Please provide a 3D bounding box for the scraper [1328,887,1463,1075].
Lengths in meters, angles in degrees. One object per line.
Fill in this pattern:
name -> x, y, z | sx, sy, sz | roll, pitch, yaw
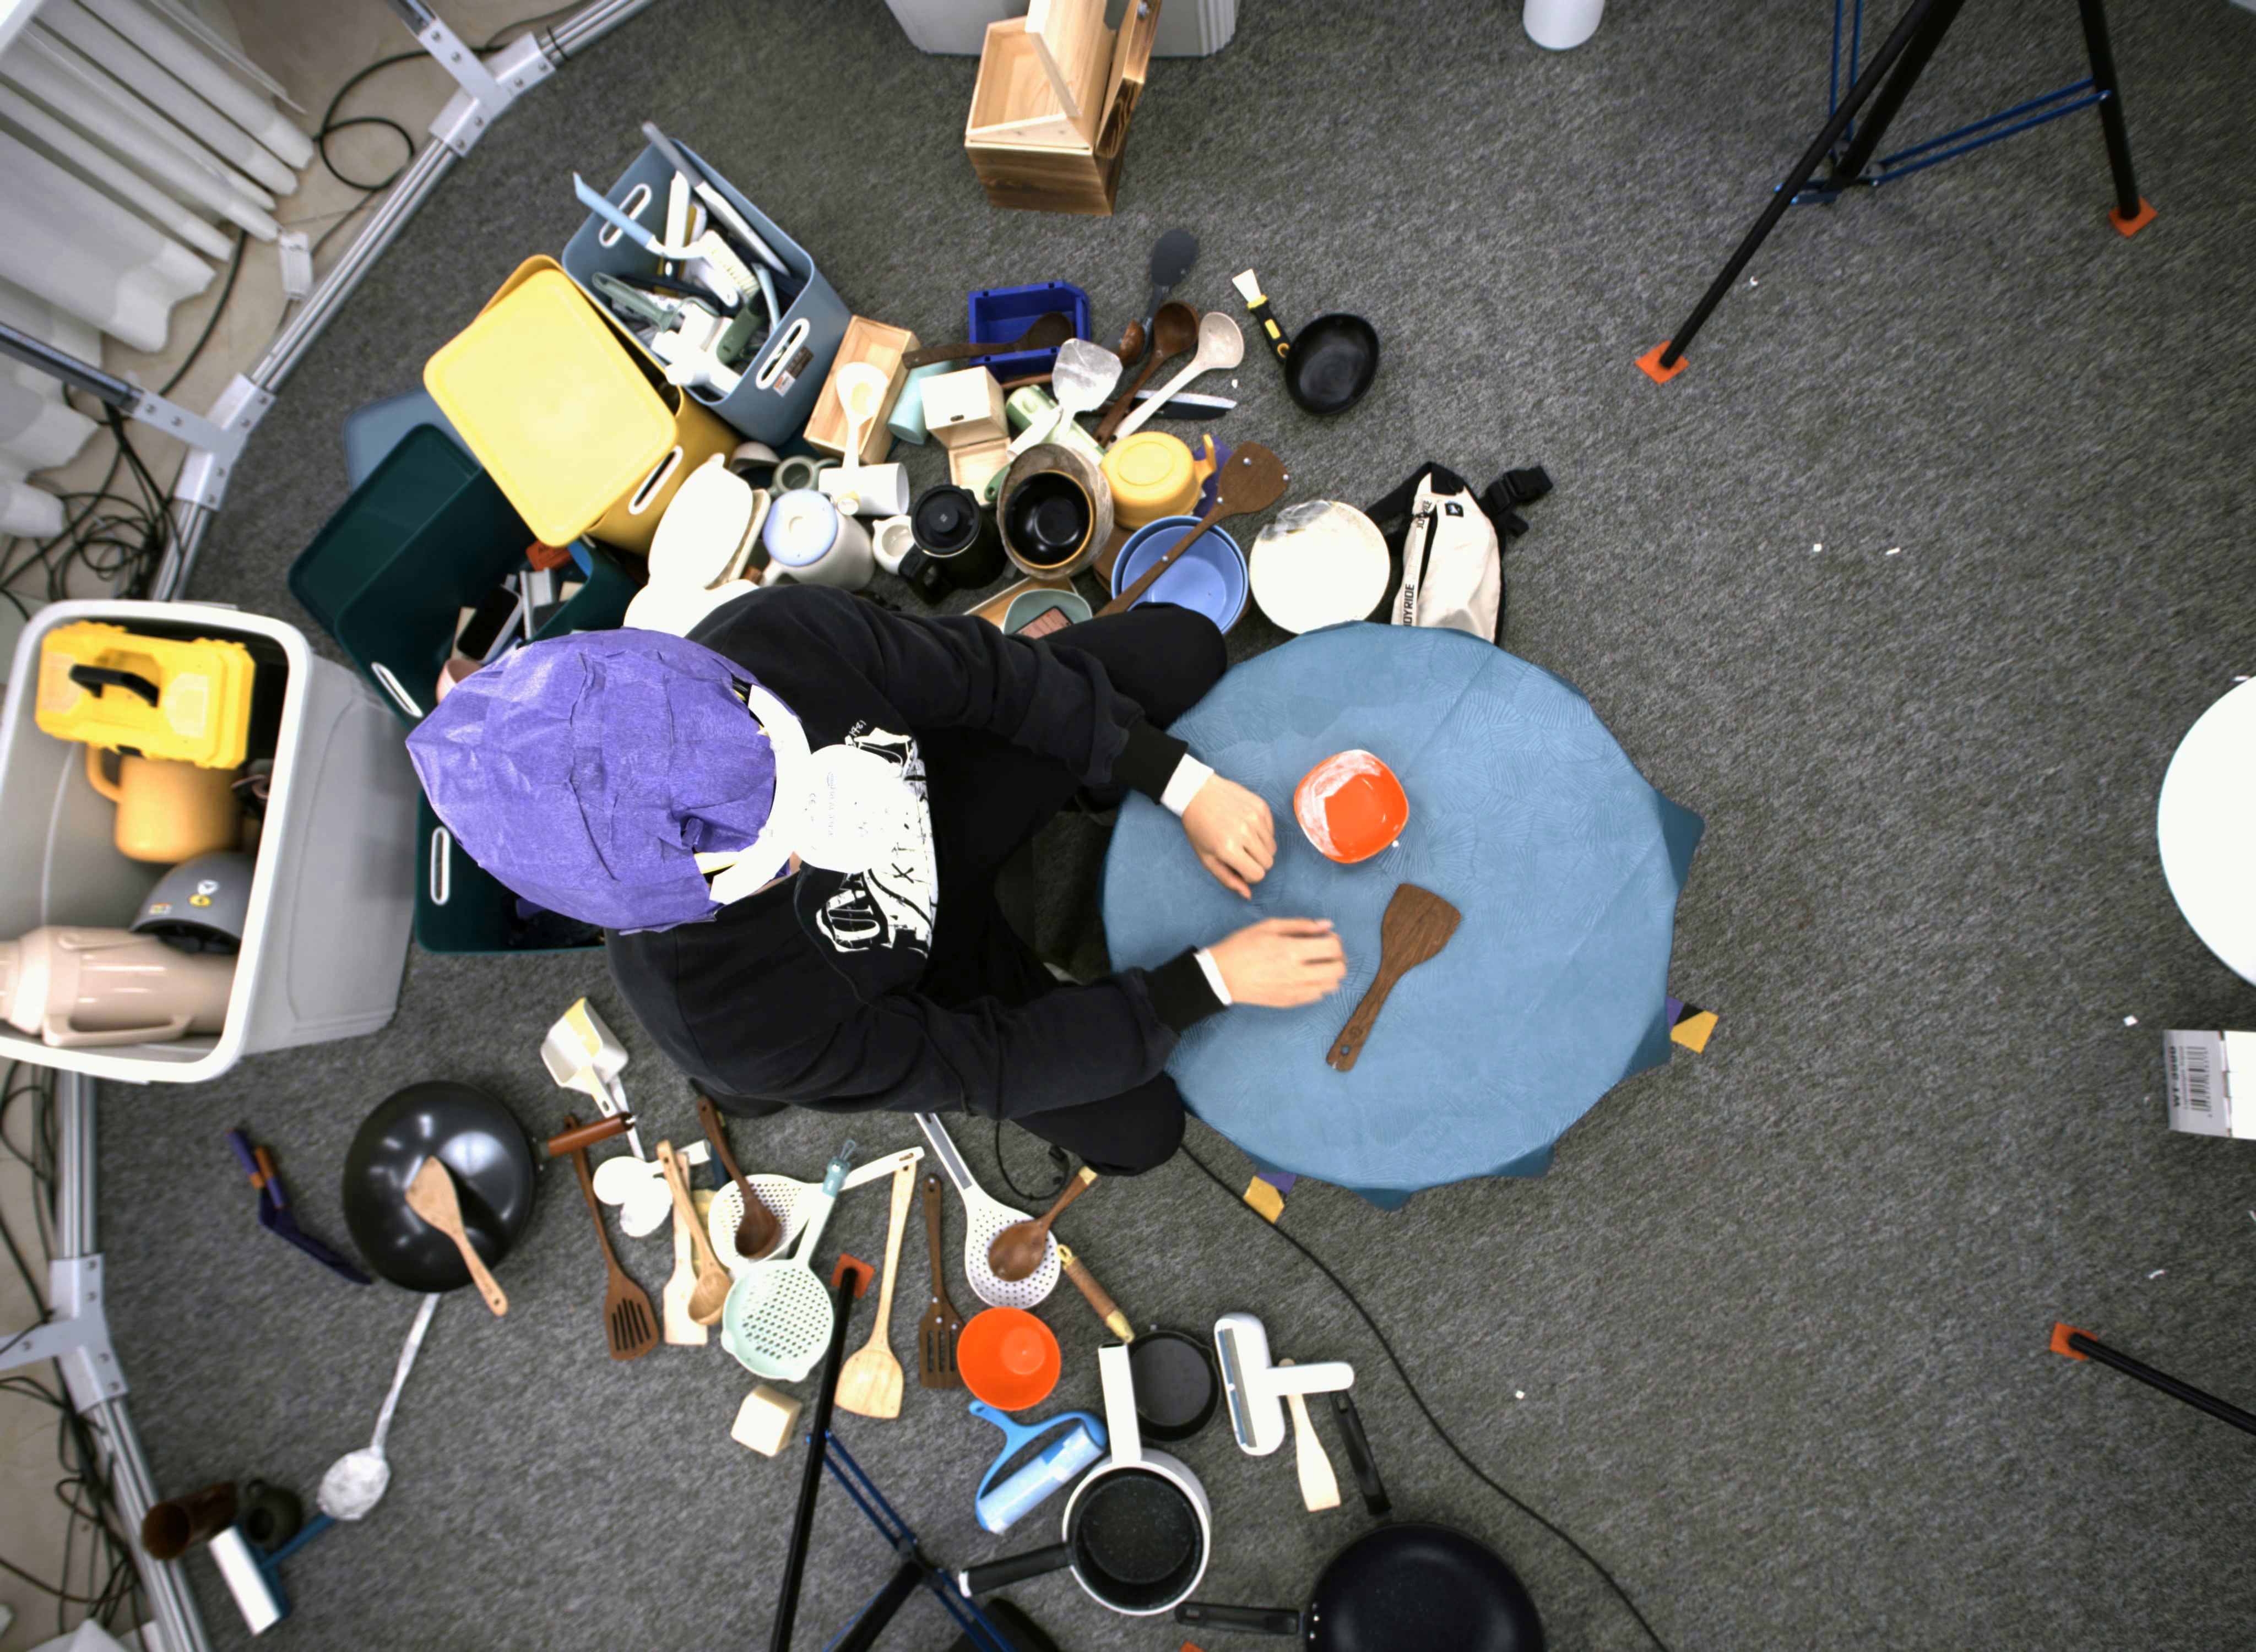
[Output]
scraper -> 0.272, 0.165, 1.454 | 0.075, 0.011, 0.211 | 30, 92, 12

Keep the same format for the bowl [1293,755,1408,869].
bowl -> 0.234, -0.014, 1.455 | 0.119, 0.051, 0.119 | 0, 90, 10
